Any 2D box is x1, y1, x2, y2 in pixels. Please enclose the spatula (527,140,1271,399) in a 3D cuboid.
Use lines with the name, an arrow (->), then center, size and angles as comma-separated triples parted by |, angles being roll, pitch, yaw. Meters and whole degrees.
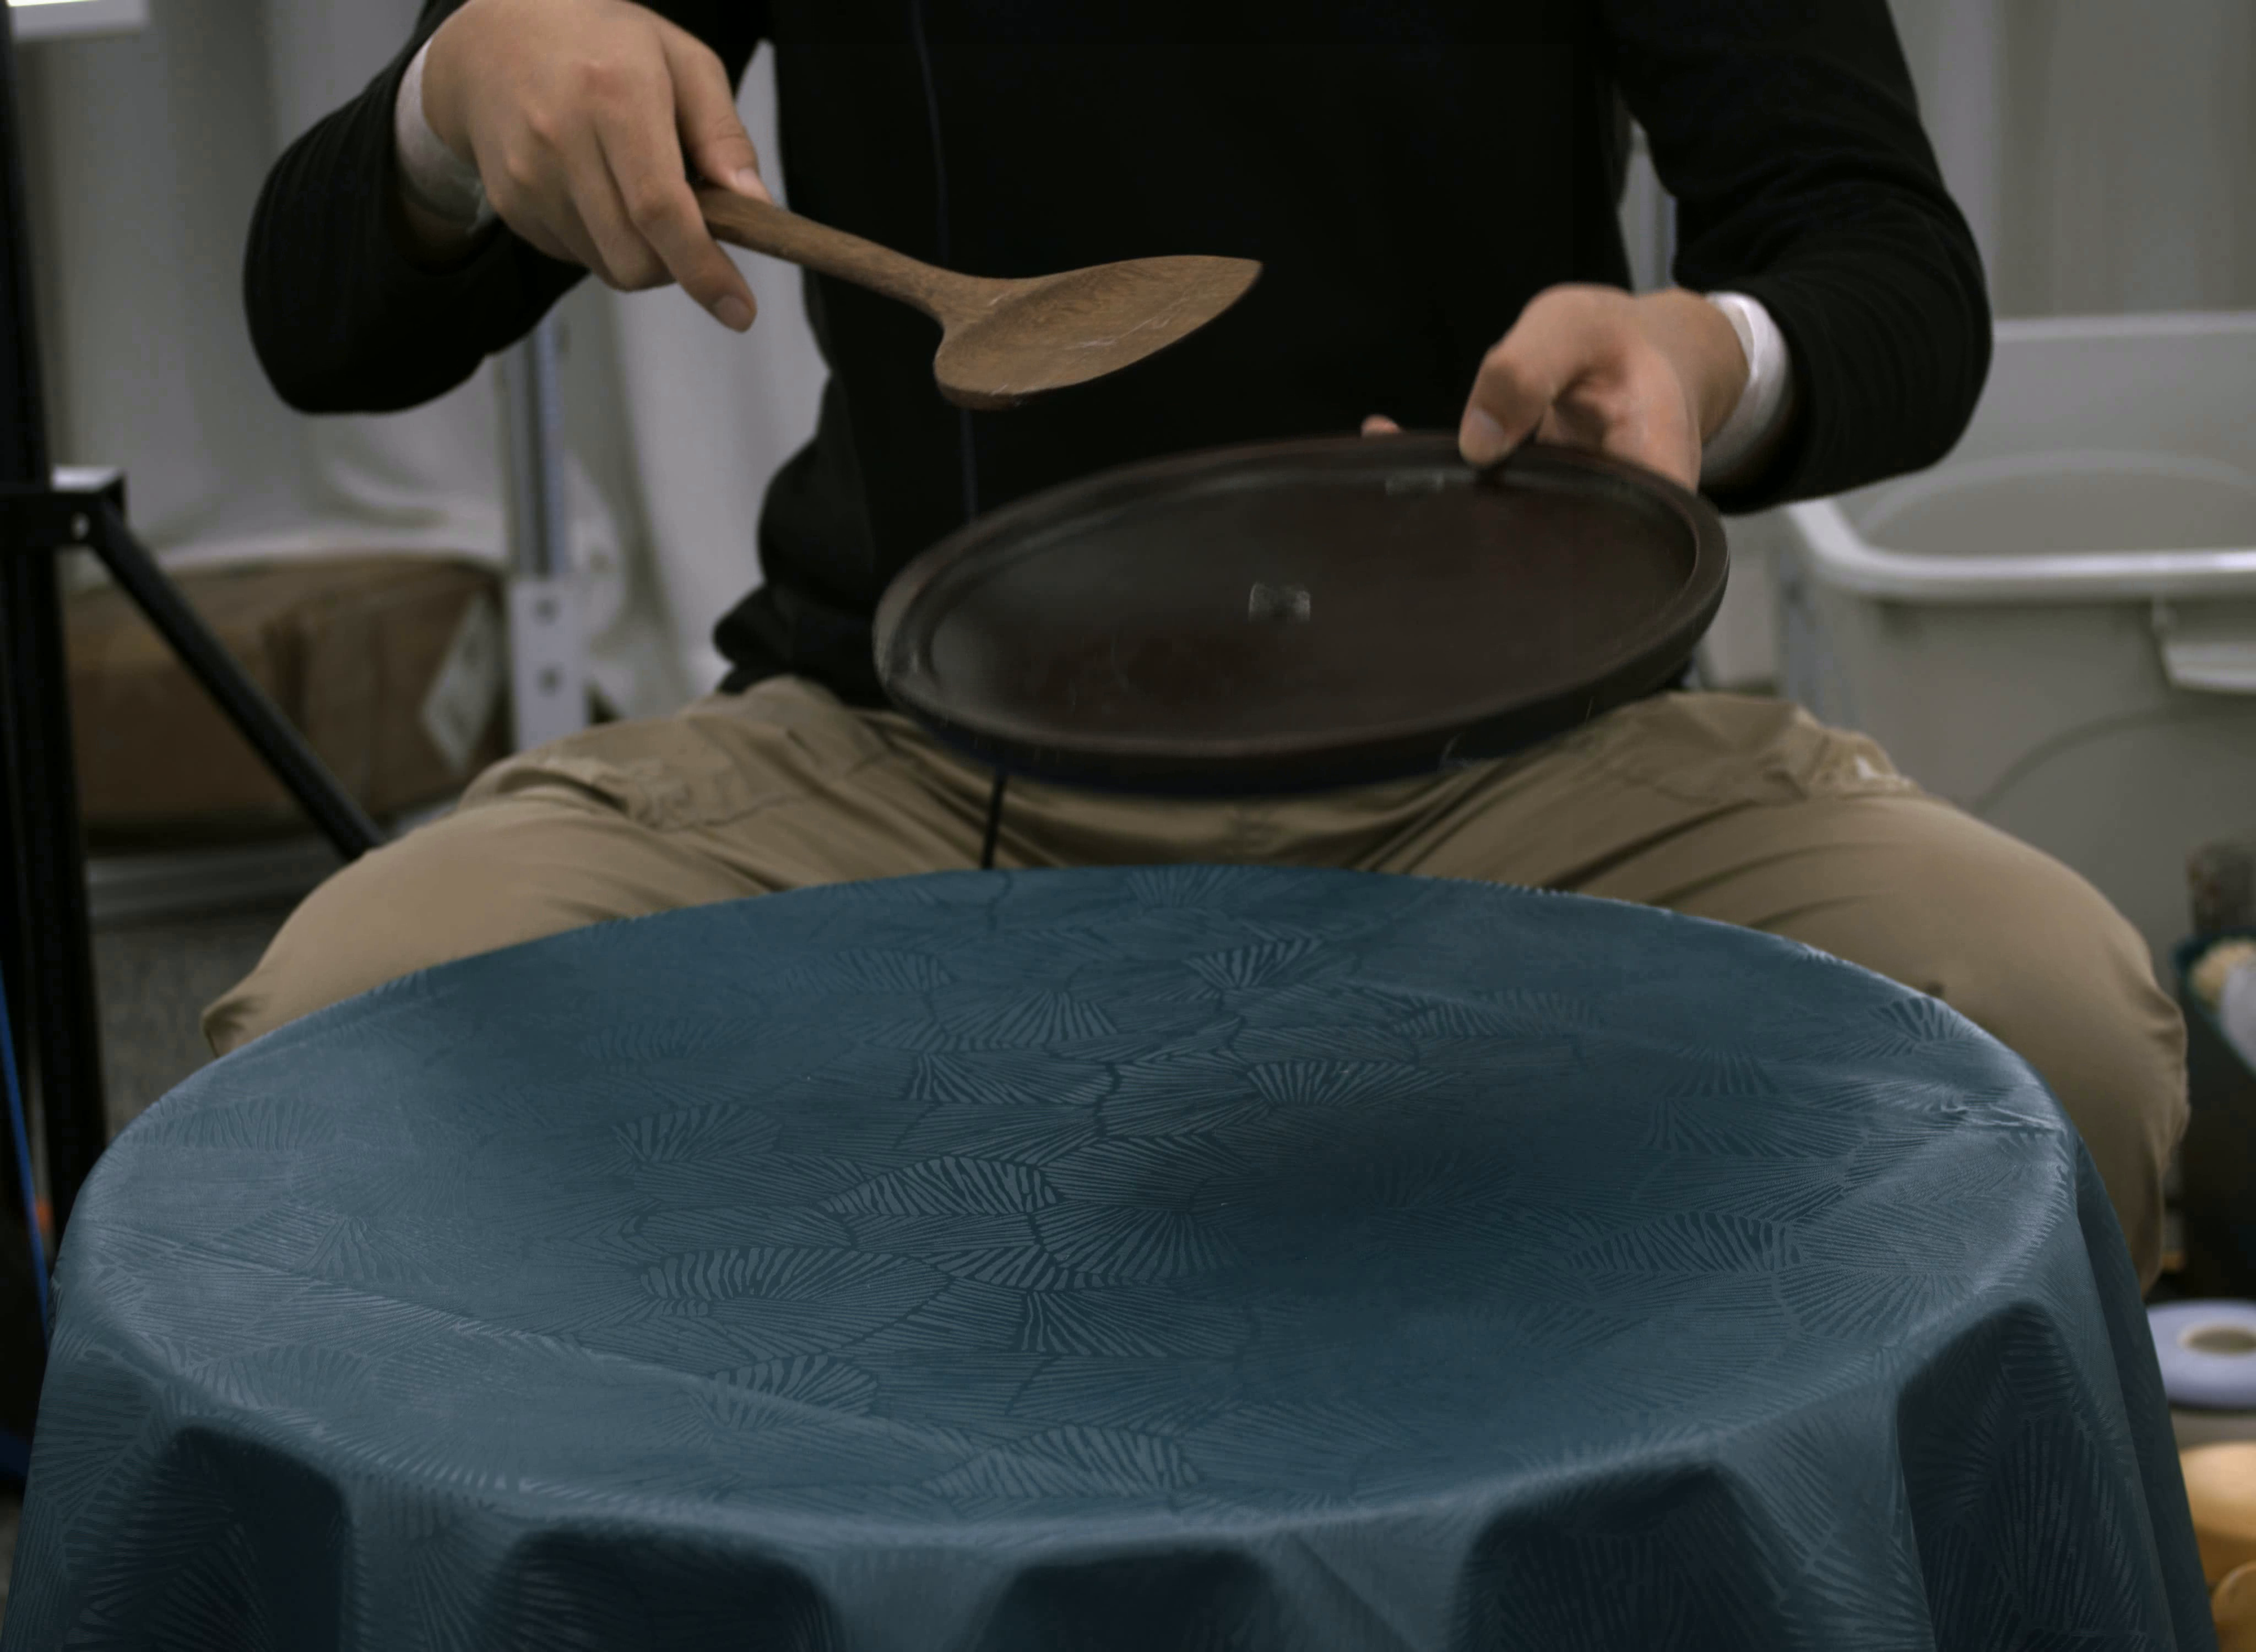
spatula -> -0.093, -0.184, 1.696 | 0.095, 0.015, 0.395 | -31, 29, -24

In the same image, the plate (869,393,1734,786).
plate -> 0.050, -0.068, 1.548 | 0.254, 0.029, 0.256 | -8, 23, 2
